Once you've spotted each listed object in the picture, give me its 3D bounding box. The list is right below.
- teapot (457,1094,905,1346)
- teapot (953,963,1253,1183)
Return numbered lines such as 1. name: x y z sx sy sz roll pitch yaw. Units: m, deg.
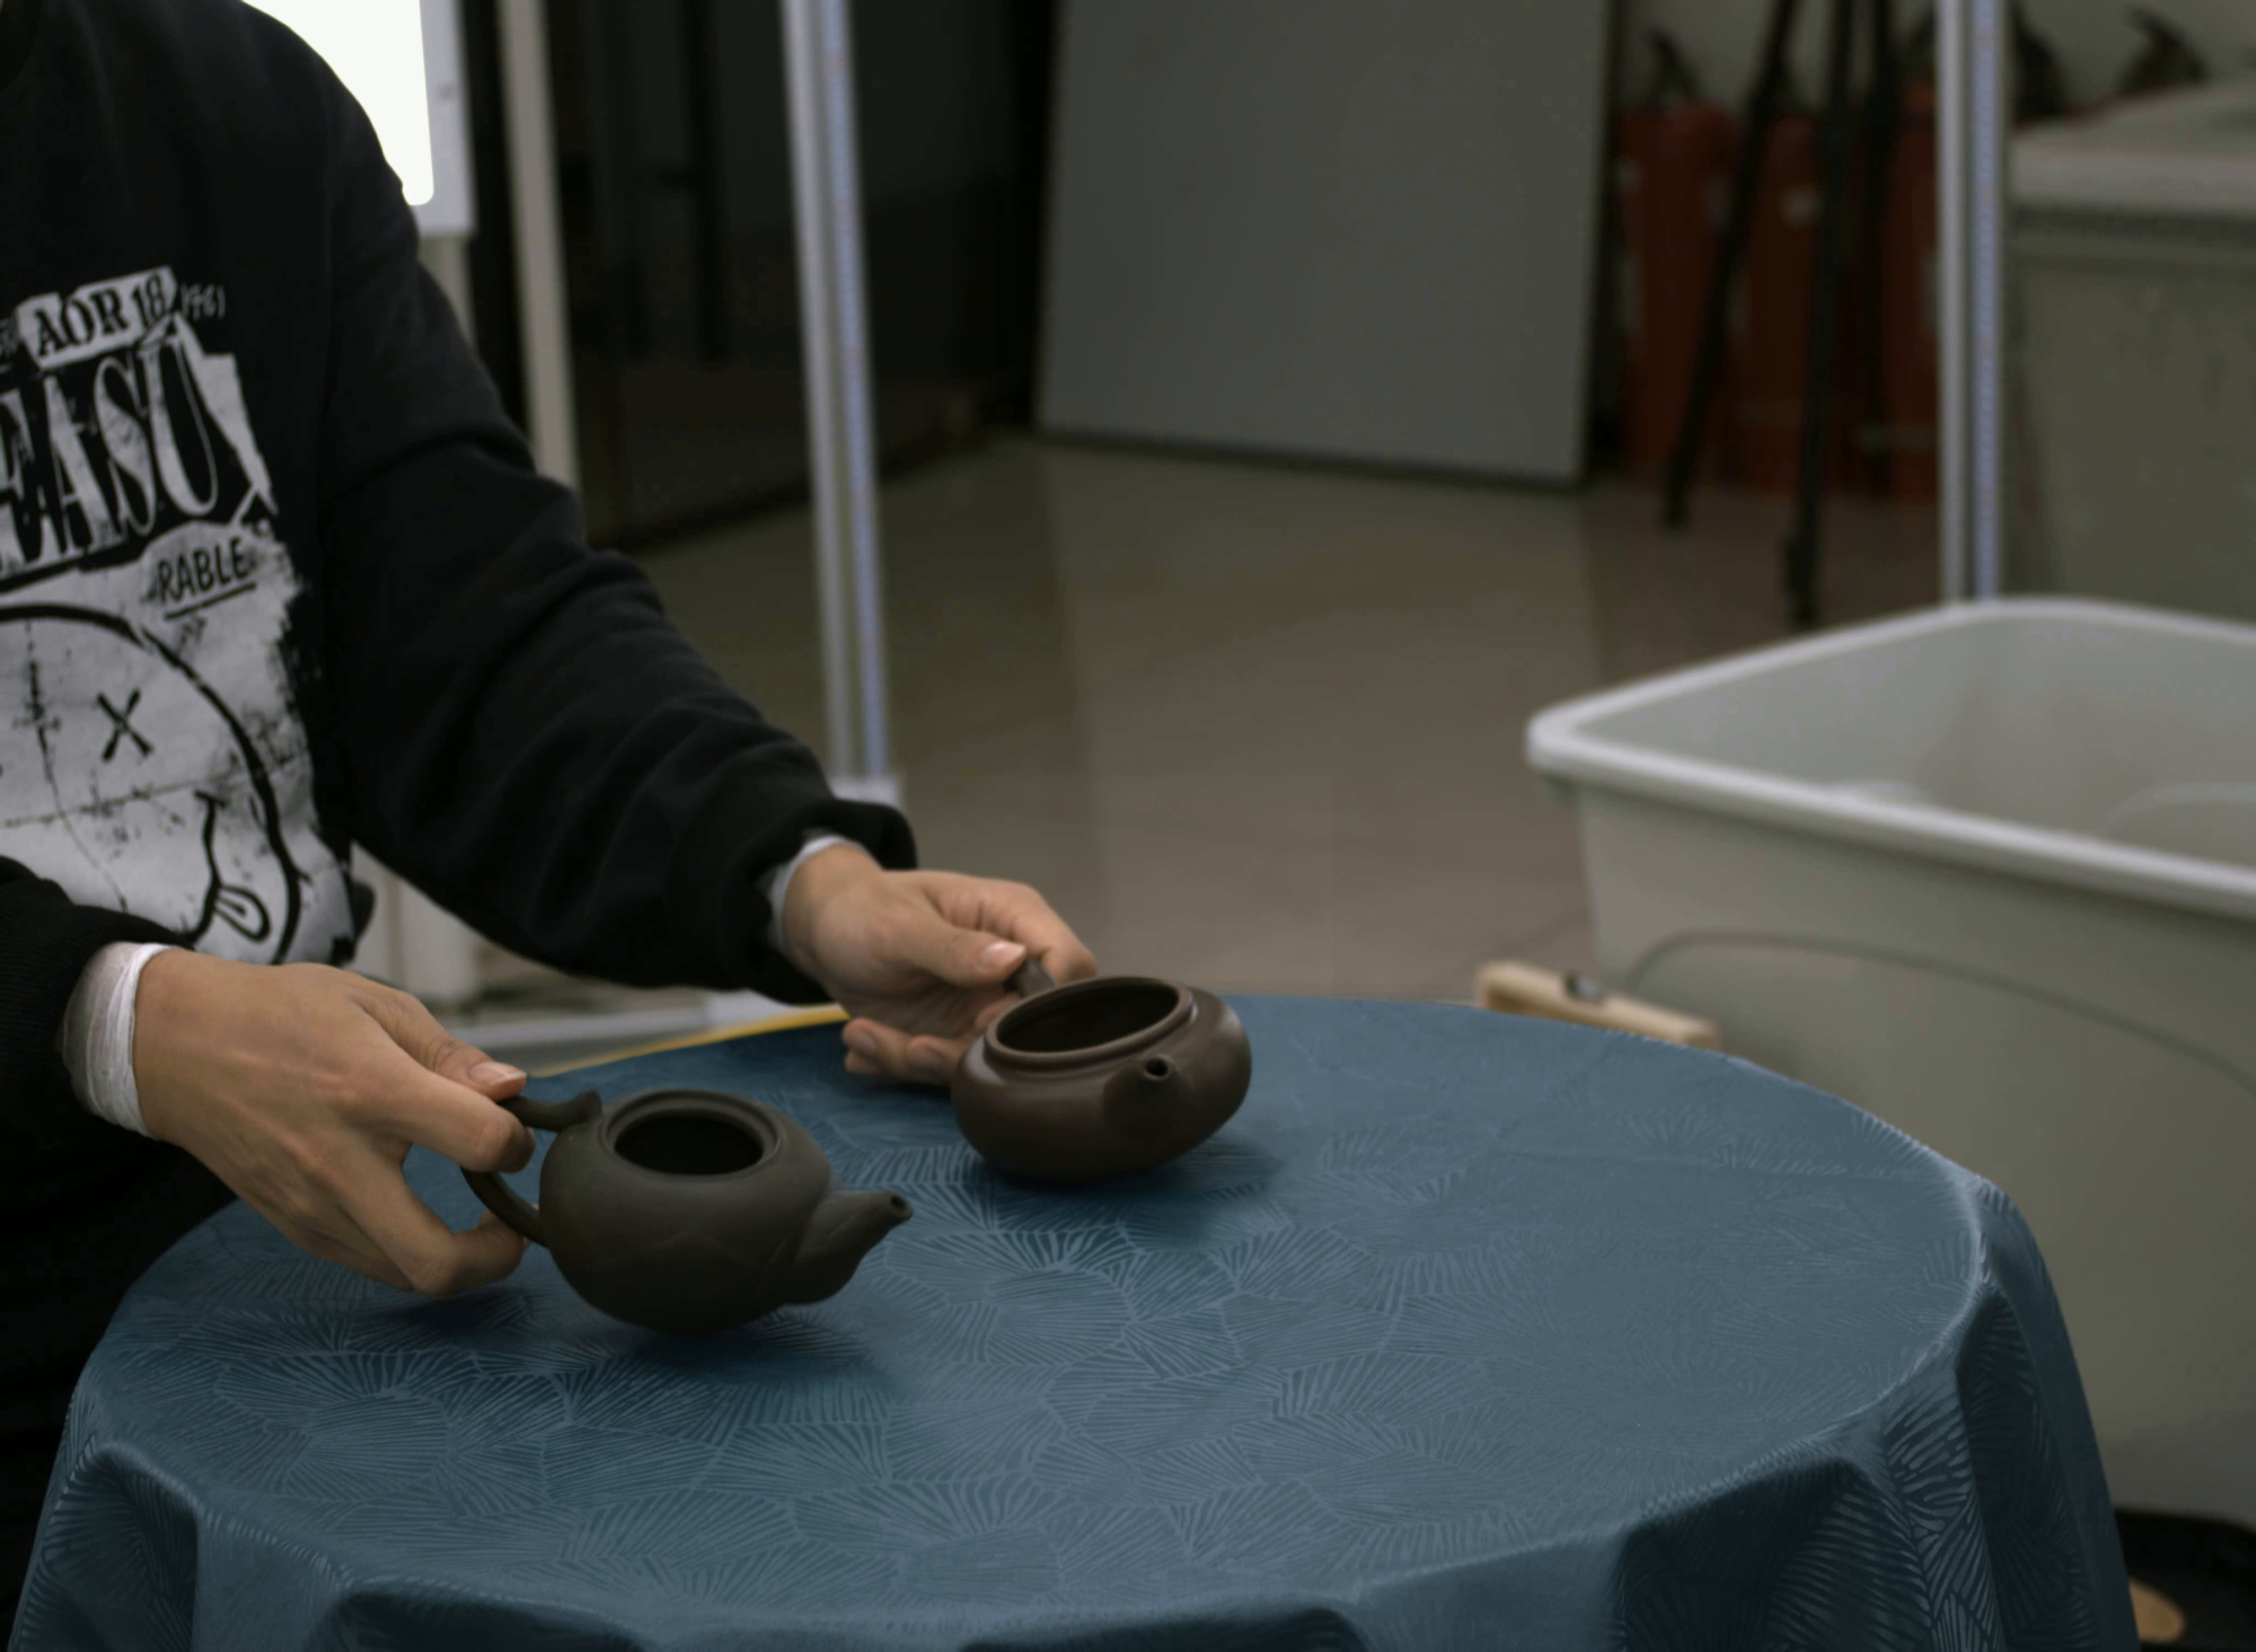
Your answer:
1. teapot: -0.139 0.120 1.659 0.154 0.065 0.091 14 24 21
2. teapot: -0.010 0.082 1.806 0.100 0.054 0.155 -18 19 -21
